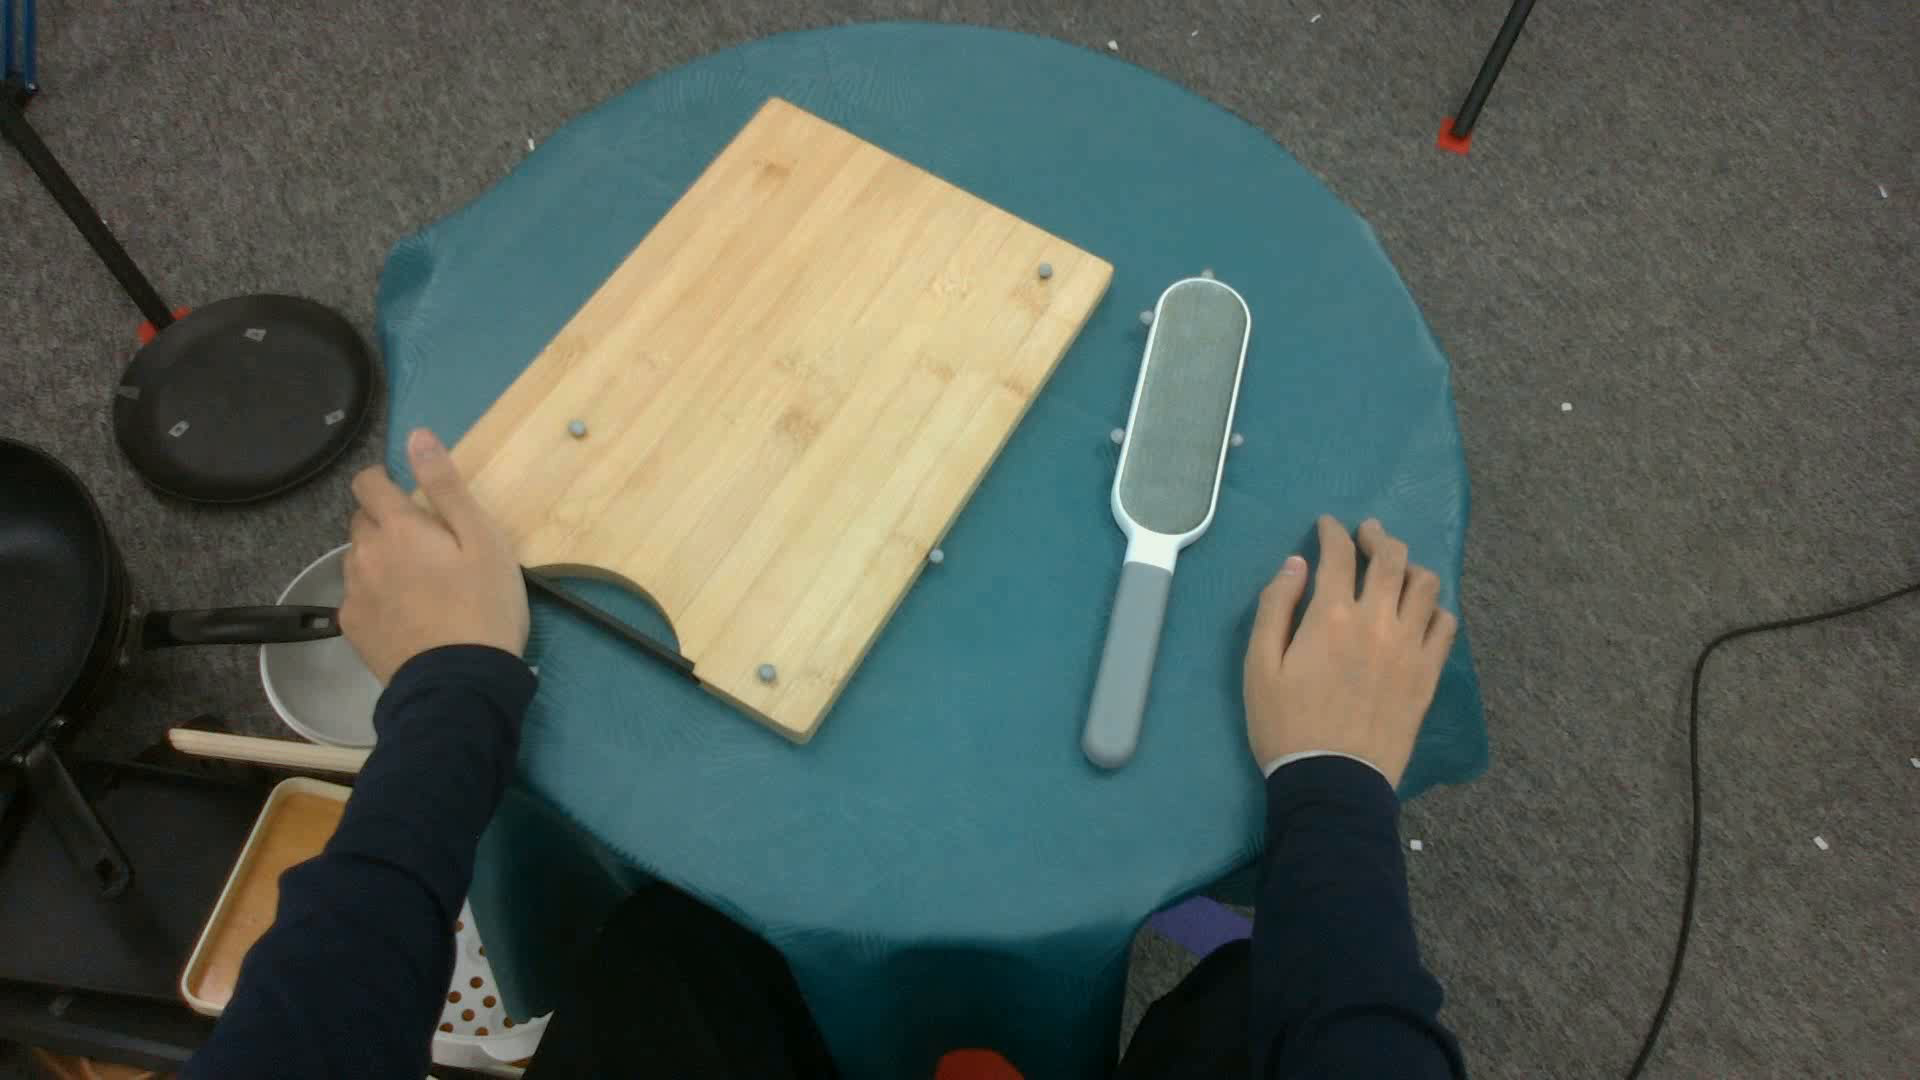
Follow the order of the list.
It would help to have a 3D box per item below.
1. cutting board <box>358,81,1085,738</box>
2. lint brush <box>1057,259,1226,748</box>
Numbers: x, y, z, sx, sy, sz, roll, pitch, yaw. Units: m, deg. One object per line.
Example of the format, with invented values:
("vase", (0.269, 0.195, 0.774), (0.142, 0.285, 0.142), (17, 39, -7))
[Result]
("cutting board", (-0.114, -0.091, 0.759), (0.250, 0.023, 0.350), (28, 63, 9))
("lint brush", (0.095, -0.032, 0.745), (0.060, 0.021, 0.310), (18, 62, -3))
